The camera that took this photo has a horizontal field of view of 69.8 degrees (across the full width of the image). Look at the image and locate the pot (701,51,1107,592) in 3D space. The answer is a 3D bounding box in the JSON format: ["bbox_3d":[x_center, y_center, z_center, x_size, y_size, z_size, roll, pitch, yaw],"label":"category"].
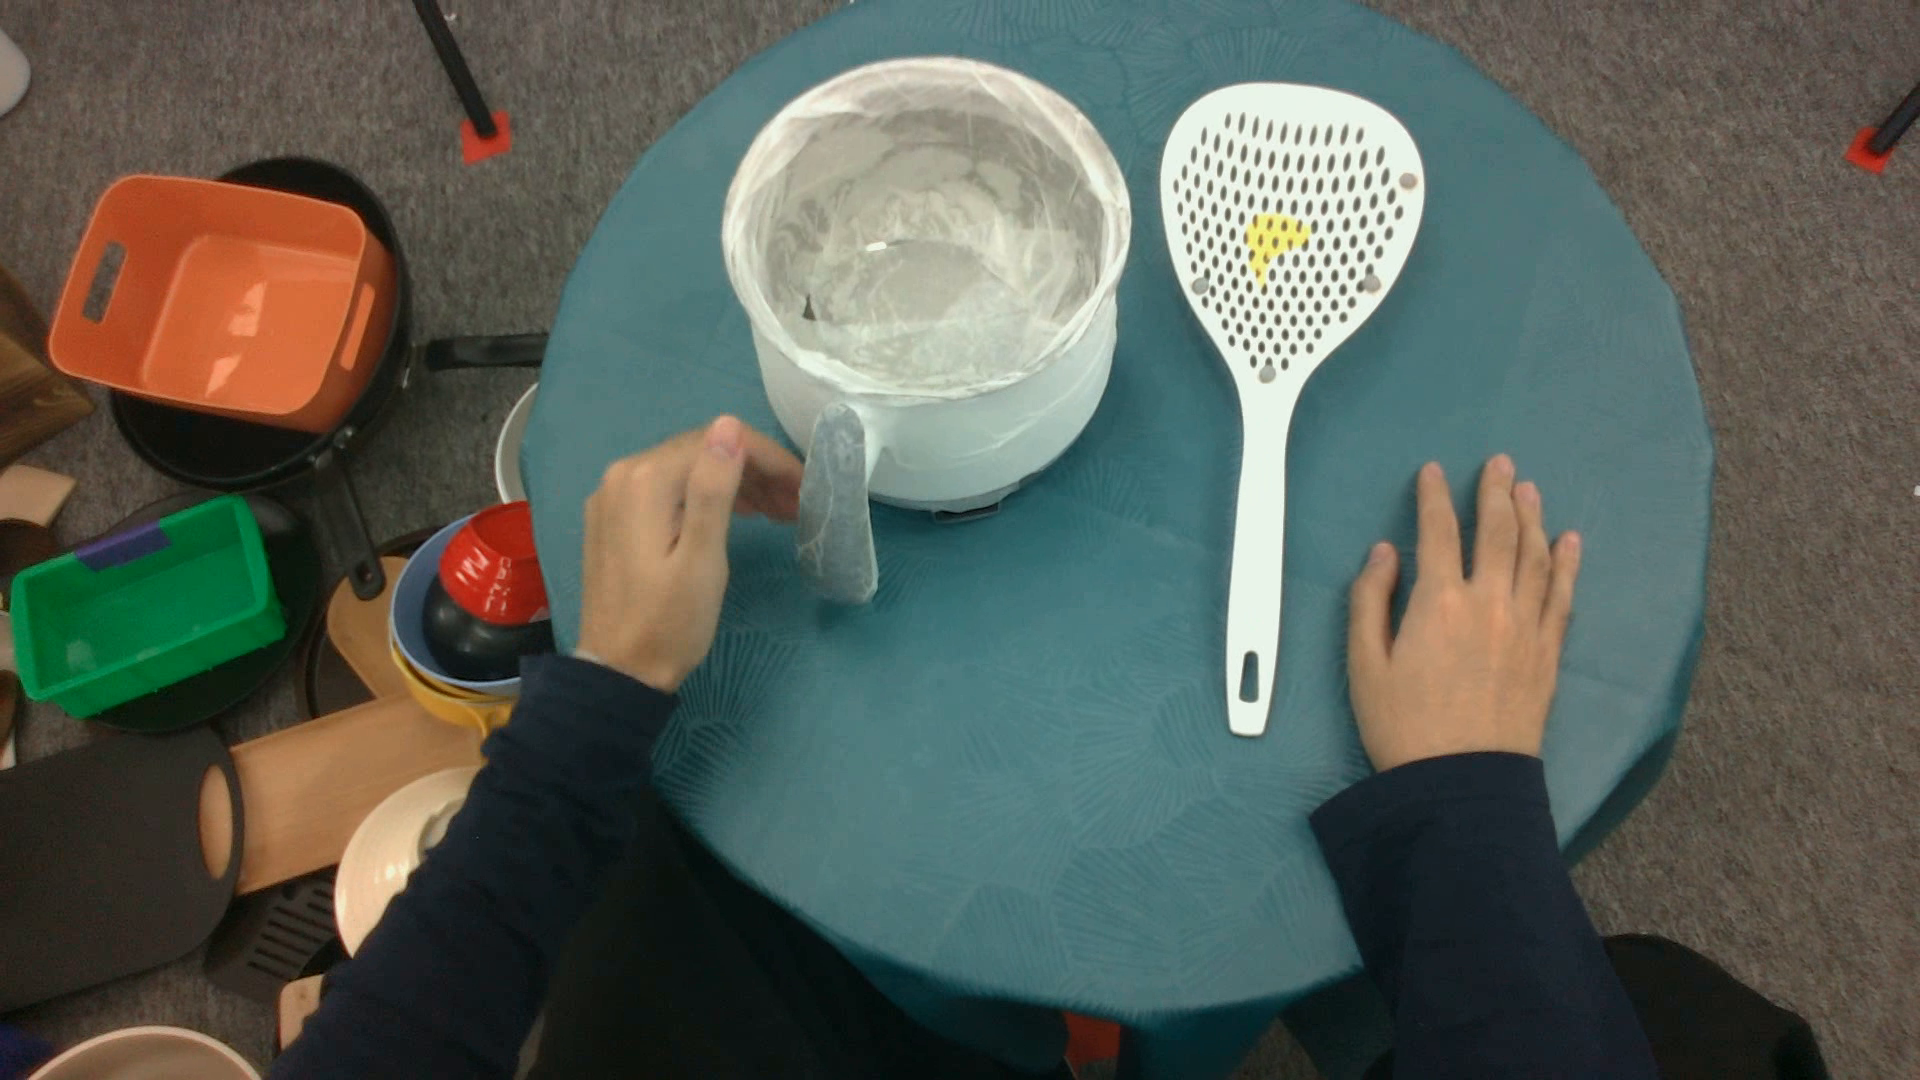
[{"bbox_3d":[-0.030,-0.095,0.646,0.178,0.136,0.234,15,68,9],"label":"pot"}]

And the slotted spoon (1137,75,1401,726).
[{"bbox_3d":[0.147,-0.082,0.688,0.137,0.050,0.349,7,66,2],"label":"slotted spoon"}]
